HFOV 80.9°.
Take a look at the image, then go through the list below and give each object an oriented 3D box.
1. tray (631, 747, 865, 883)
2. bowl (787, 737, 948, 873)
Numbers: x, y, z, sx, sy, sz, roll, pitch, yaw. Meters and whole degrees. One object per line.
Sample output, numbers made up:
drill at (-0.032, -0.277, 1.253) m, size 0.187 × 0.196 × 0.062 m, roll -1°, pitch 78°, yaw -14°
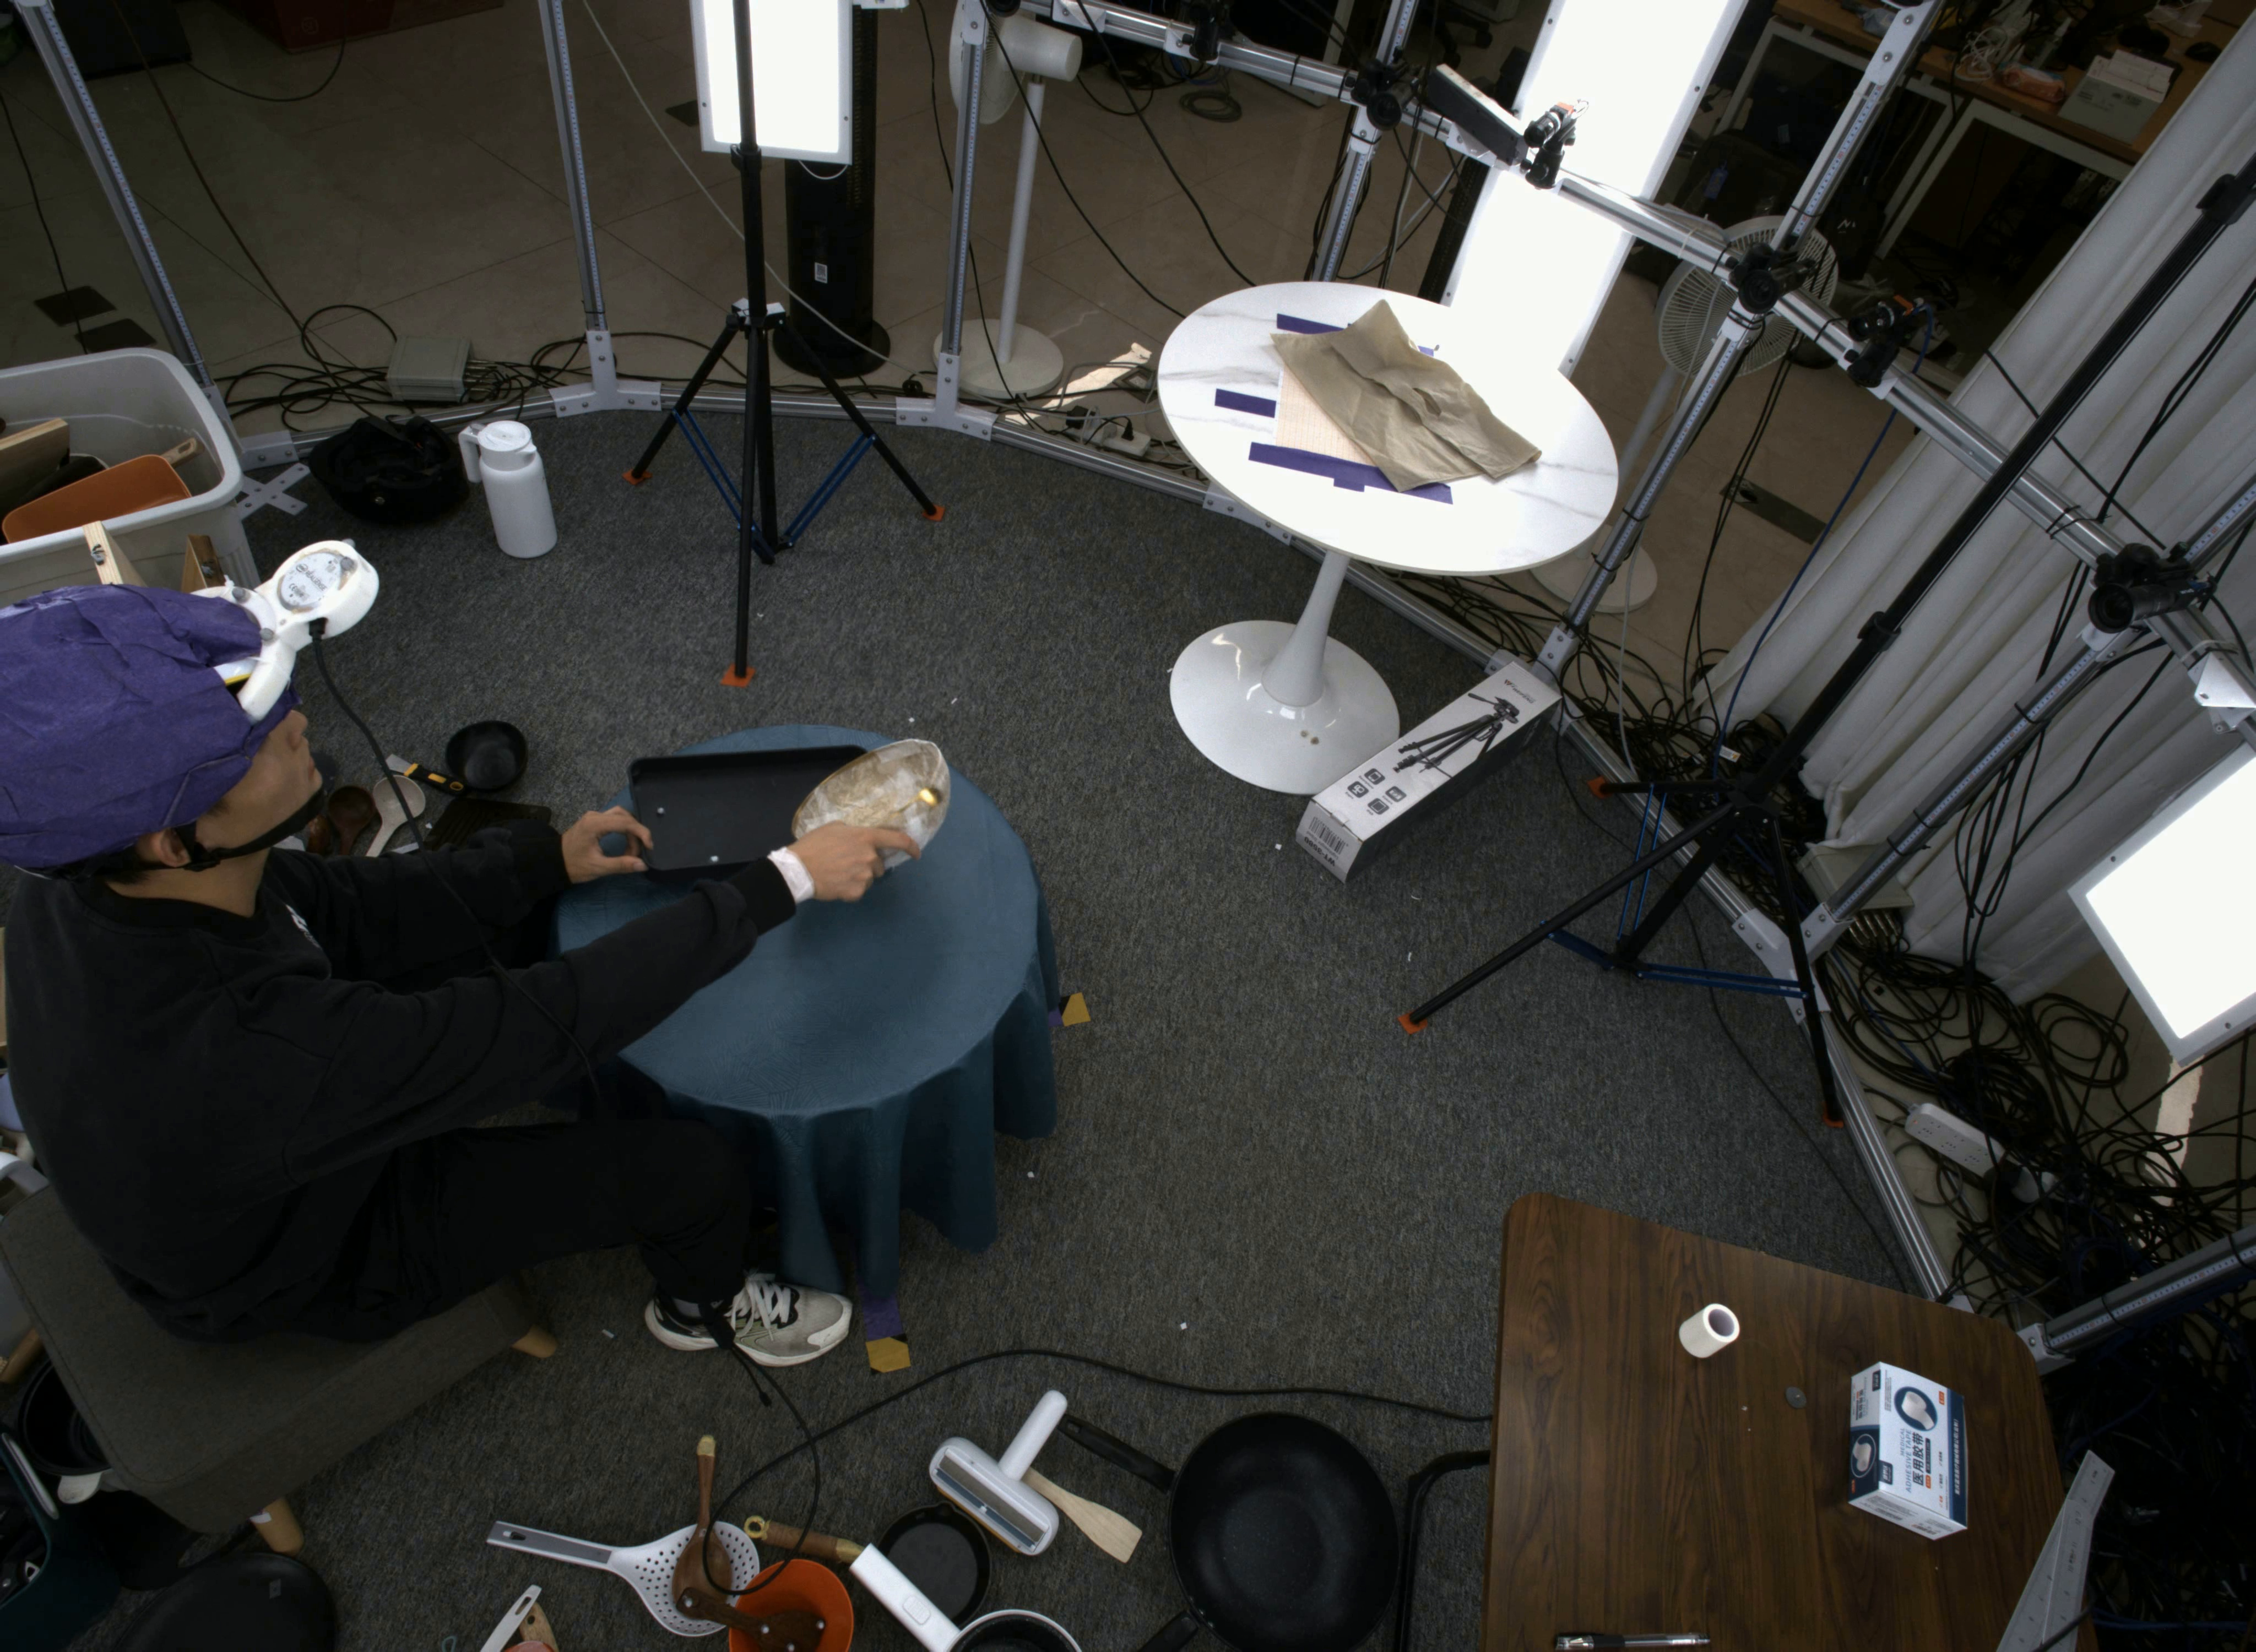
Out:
tray at (-0.476, -0.020, 1.680) m, size 0.321 × 0.037 × 0.180 m, roll -4°, pitch 54°, yaw -28°
bowl at (-0.303, -0.010, 1.577) m, size 0.211 × 0.098 × 0.210 m, roll -17°, pitch 34°, yaw 14°
